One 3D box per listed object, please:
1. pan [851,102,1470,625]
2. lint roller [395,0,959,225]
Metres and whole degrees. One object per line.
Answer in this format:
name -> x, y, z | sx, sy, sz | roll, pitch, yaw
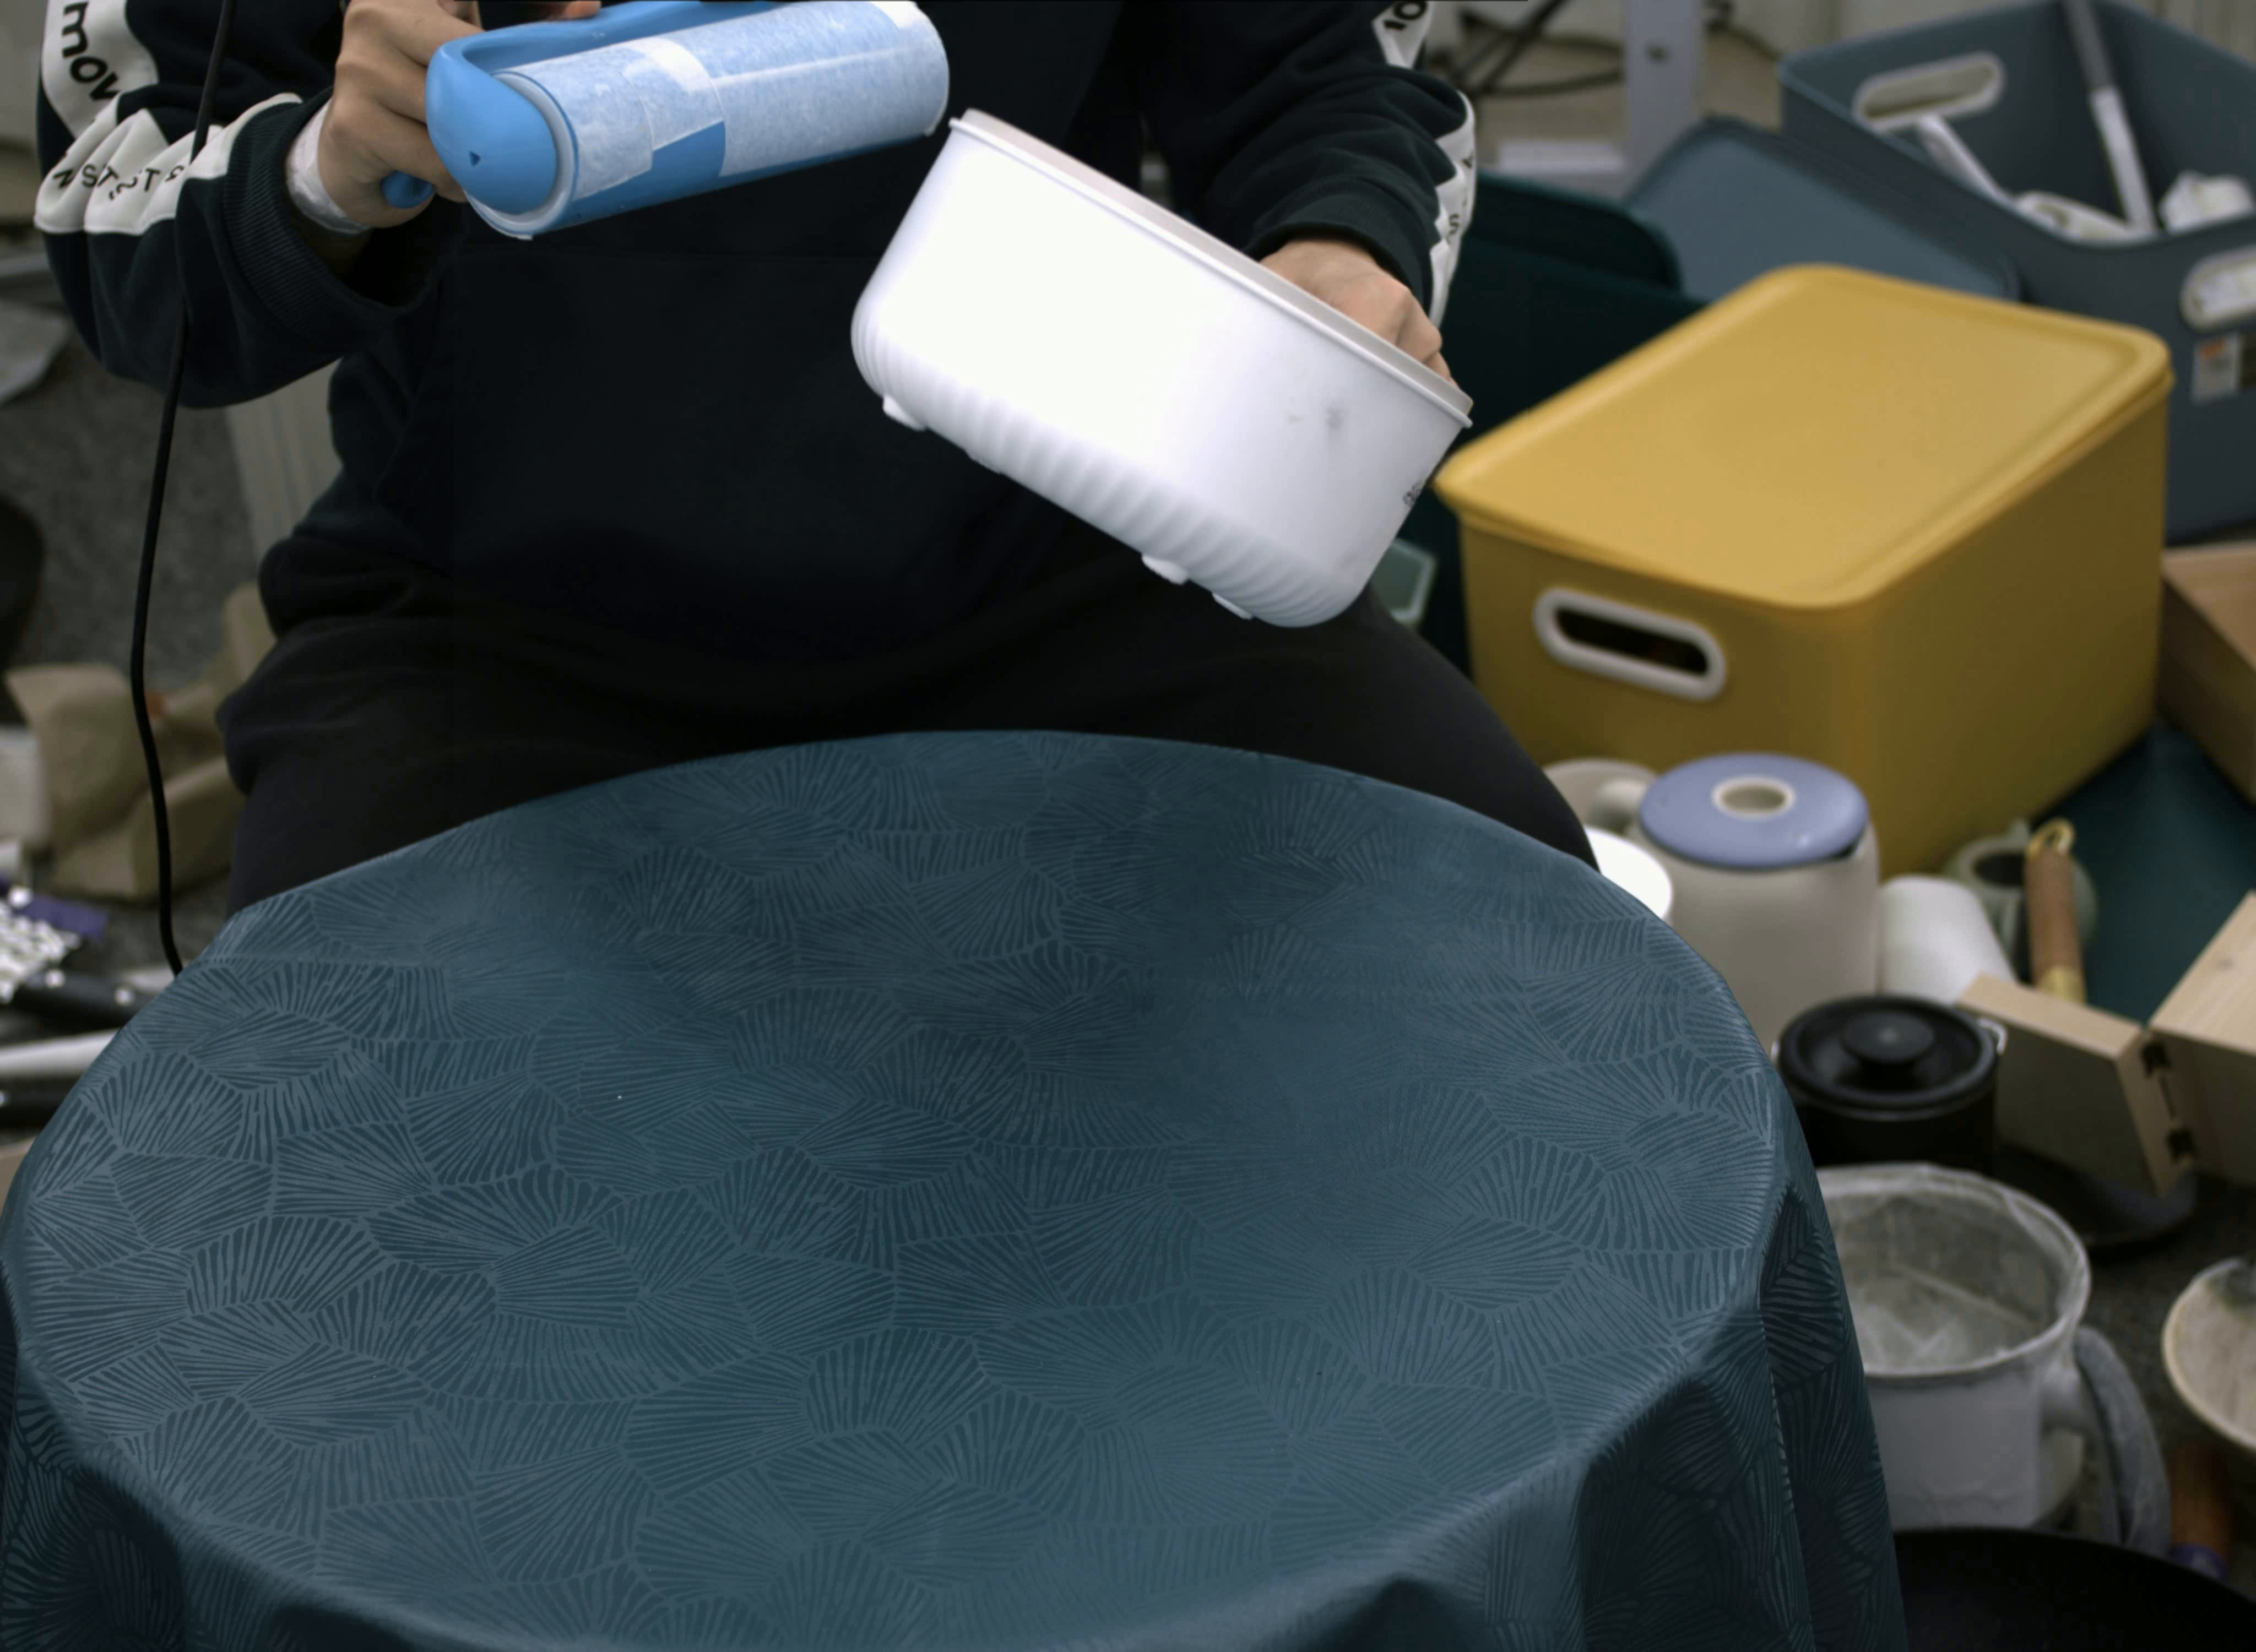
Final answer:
pan -> 0.023, -0.140, 1.952 | 0.201, 0.102, 0.354 | 31, 2, 15
lint roller -> -0.184, -0.241, 1.902 | 0.178, 0.068, 0.231 | 1, 15, 35
